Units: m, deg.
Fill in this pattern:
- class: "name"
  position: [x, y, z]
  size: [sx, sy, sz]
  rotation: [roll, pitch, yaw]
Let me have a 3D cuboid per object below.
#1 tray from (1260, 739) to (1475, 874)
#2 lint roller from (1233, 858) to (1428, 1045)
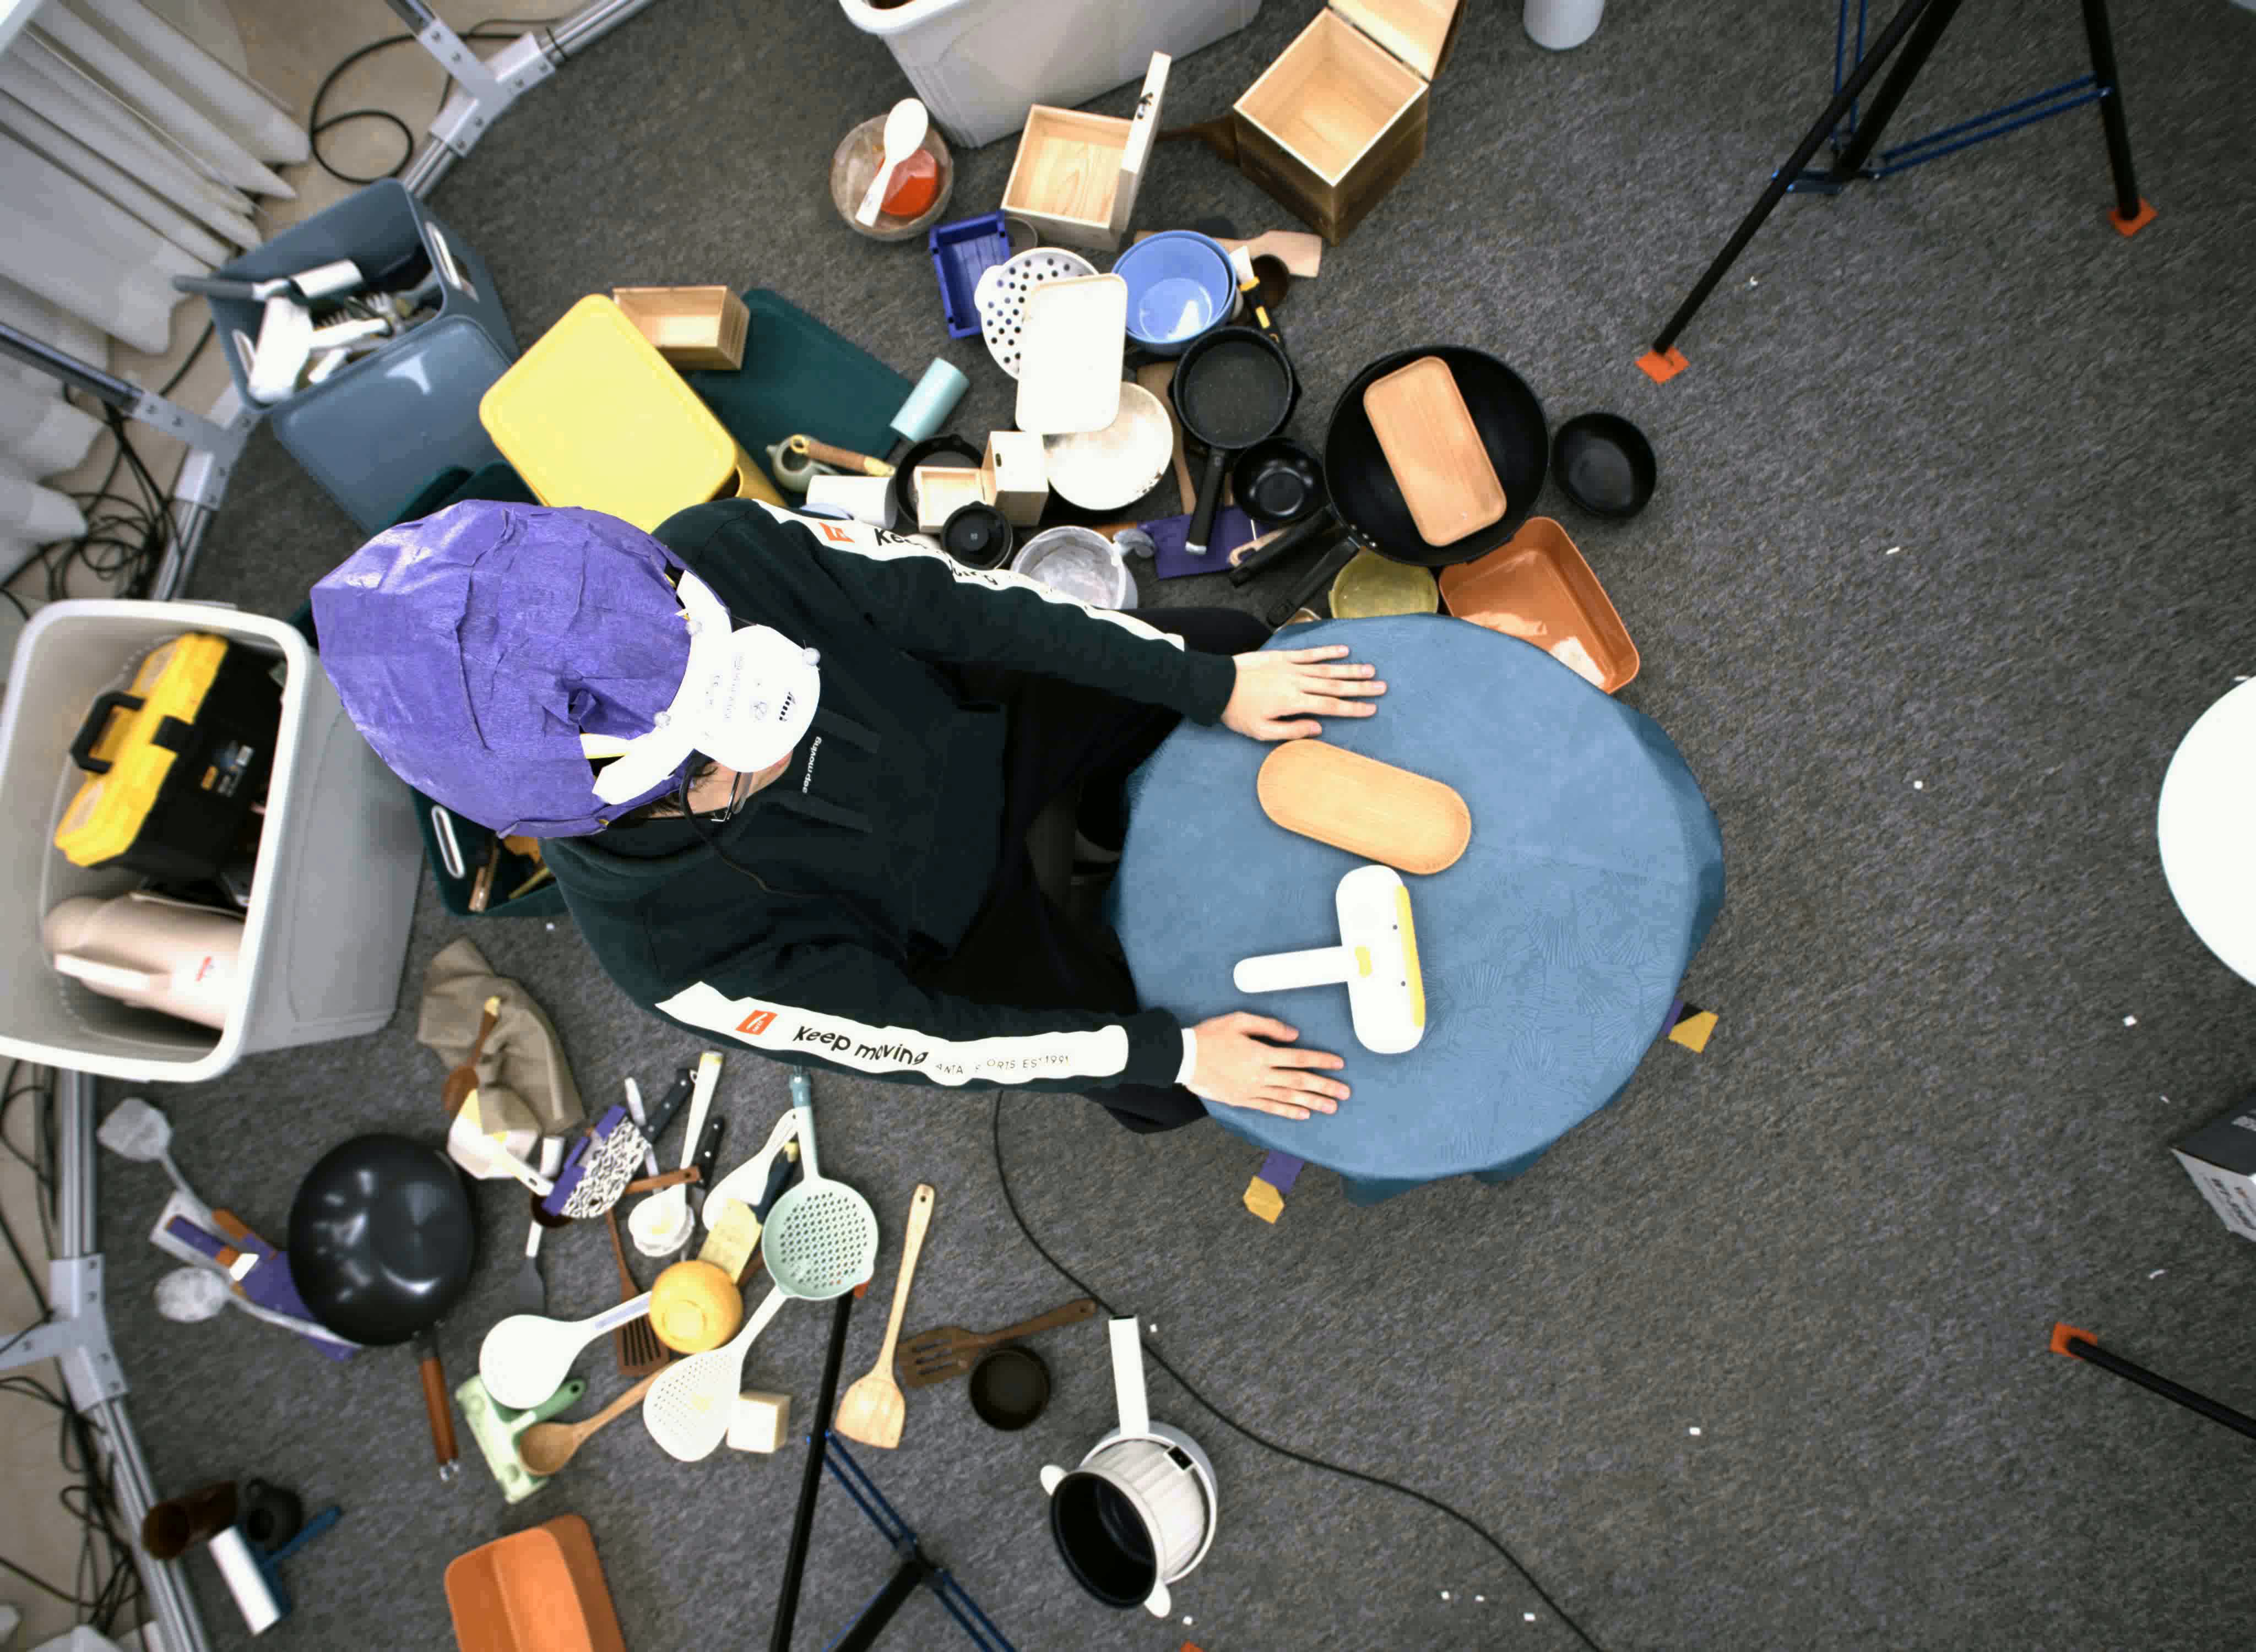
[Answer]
- class: "tray"
  position: [0.251, -0.023, 1.455]
  size: [0.231, 0.020, 0.101]
  rotation: [19, 91, 10]
- class: "lint roller"
  position: [0.203, 0.142, 1.439]
  size: [0.195, 0.073, 0.192]
  rotation: [-14, 90, 28]
